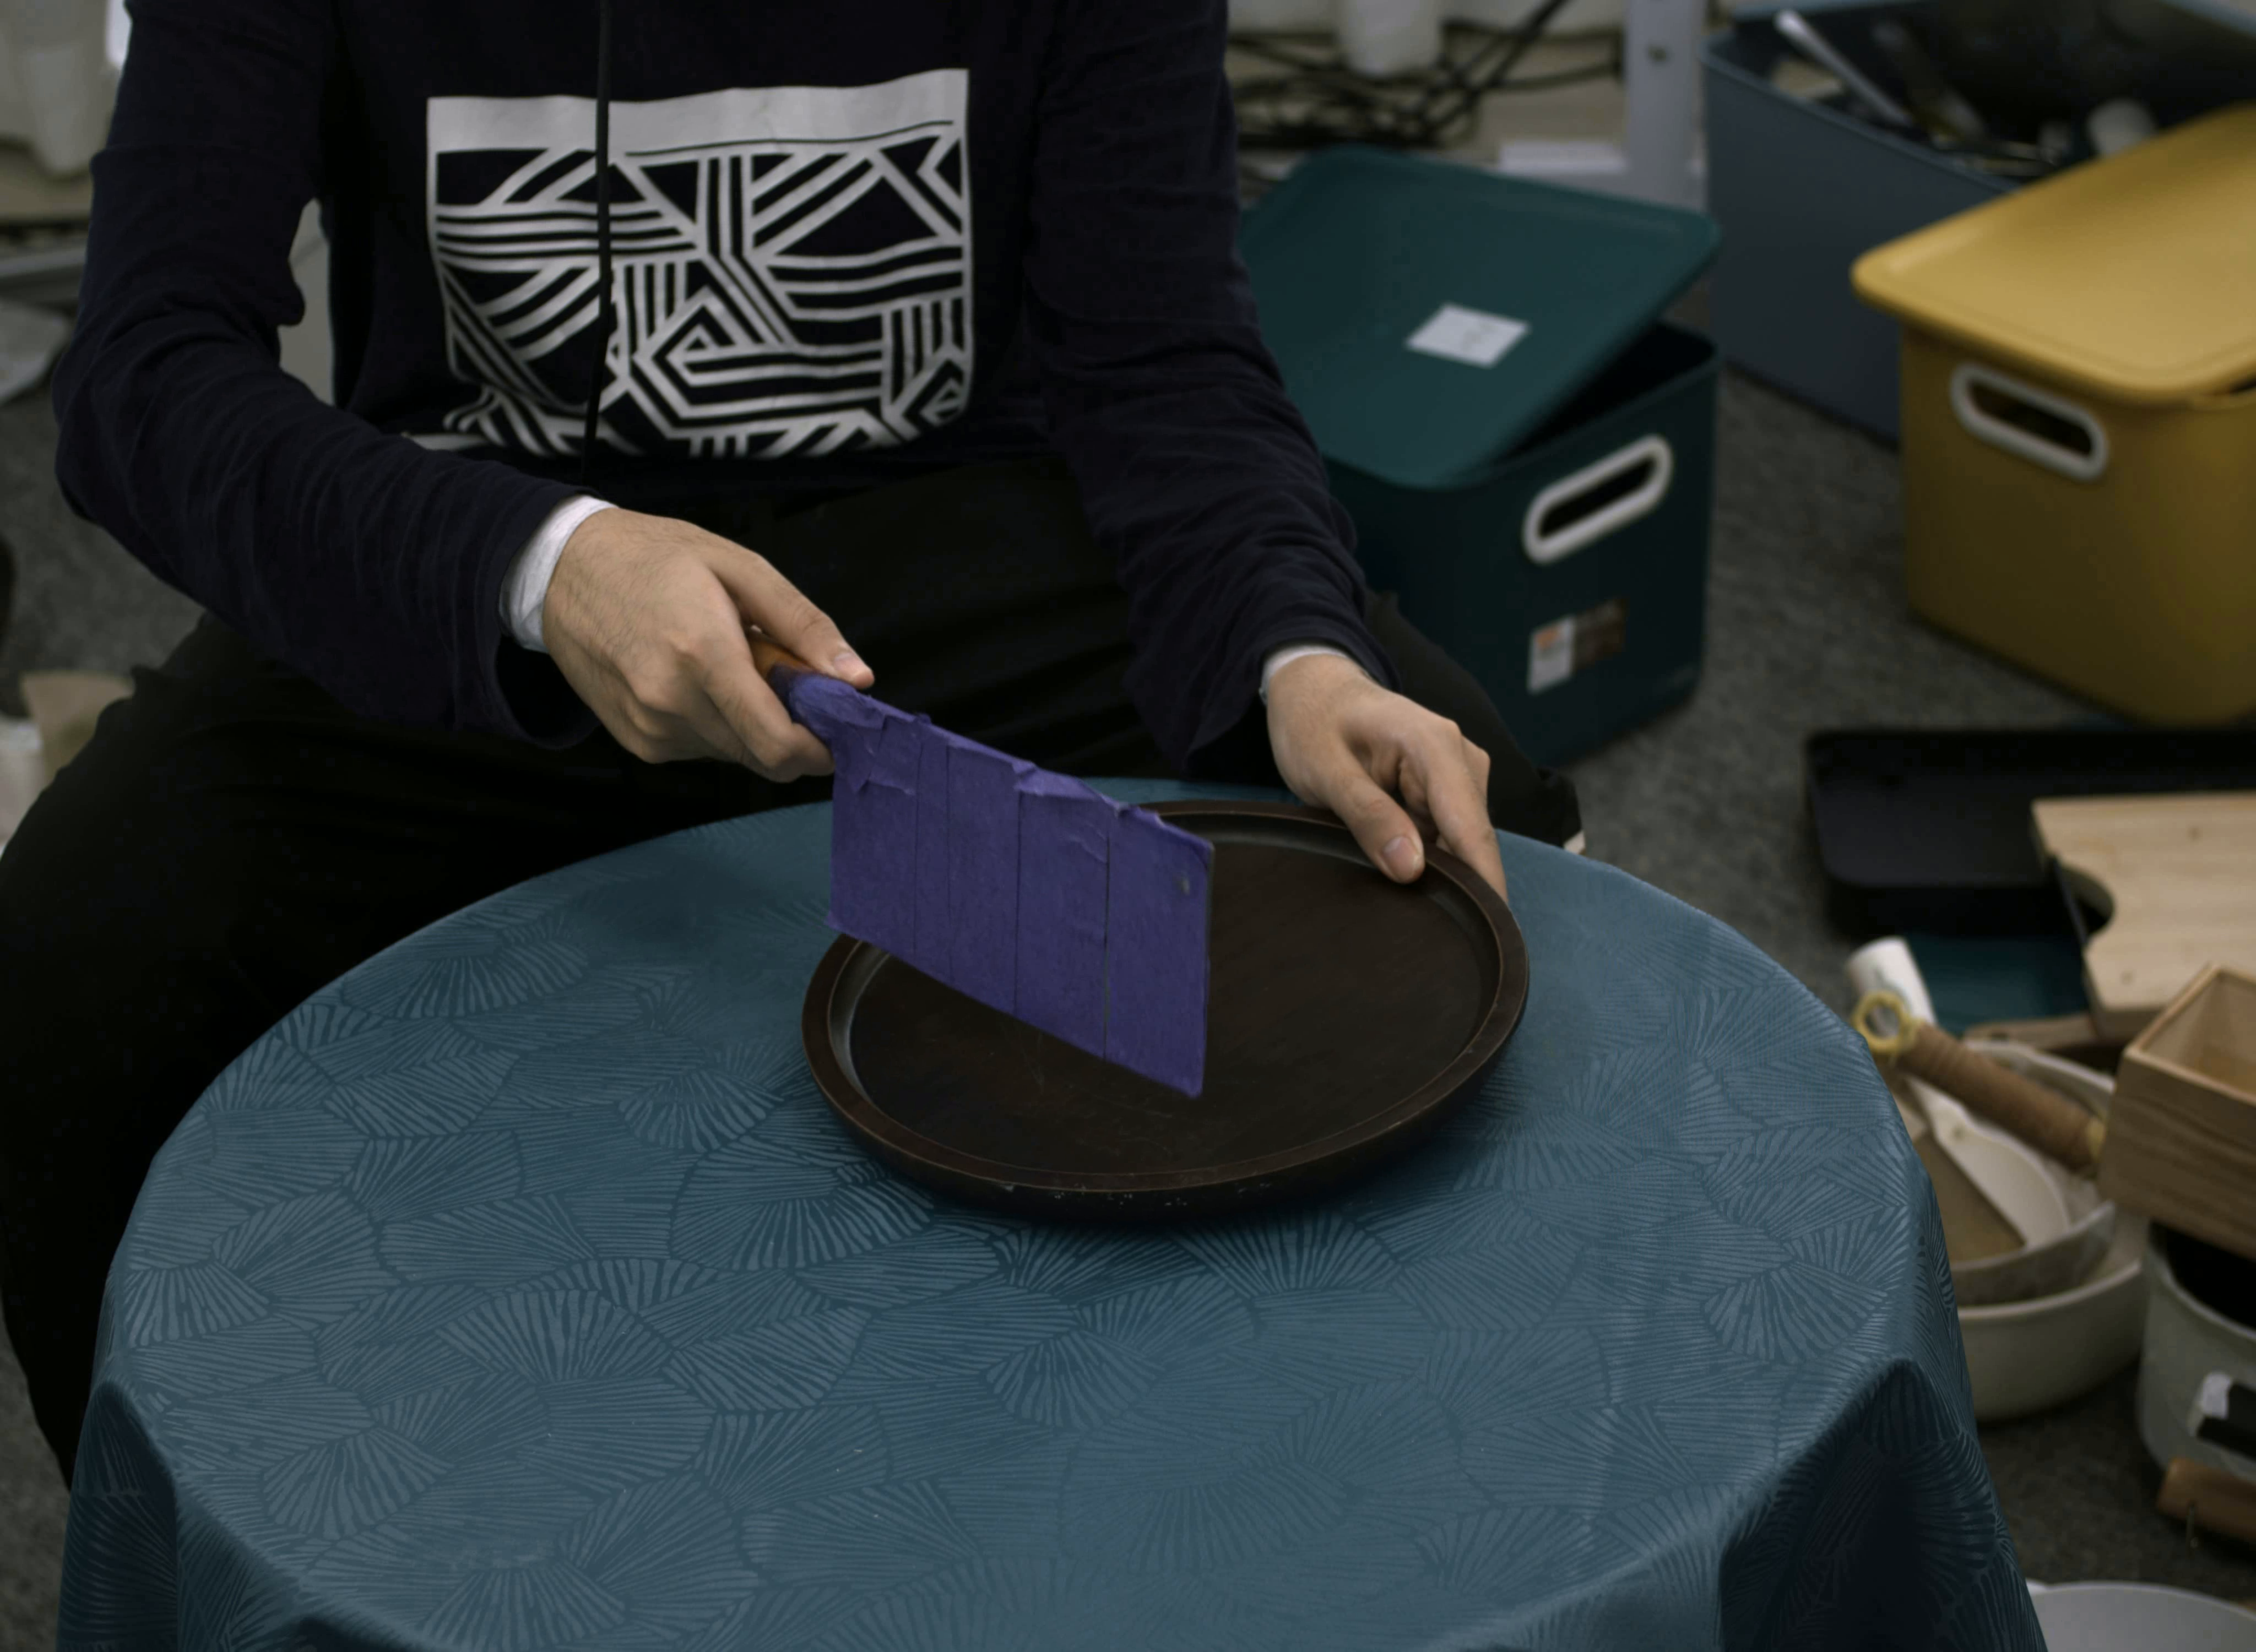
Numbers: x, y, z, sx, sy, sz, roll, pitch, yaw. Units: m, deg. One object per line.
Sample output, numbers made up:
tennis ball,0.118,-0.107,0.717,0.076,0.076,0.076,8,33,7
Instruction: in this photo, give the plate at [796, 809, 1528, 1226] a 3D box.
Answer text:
plate,0.012,0.063,1.933,0.253,0.029,0.259,-5,30,3

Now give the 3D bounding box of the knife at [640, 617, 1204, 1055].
knife,-0.074,0.004,1.925,0.032,0.103,0.315,-7,18,-36
